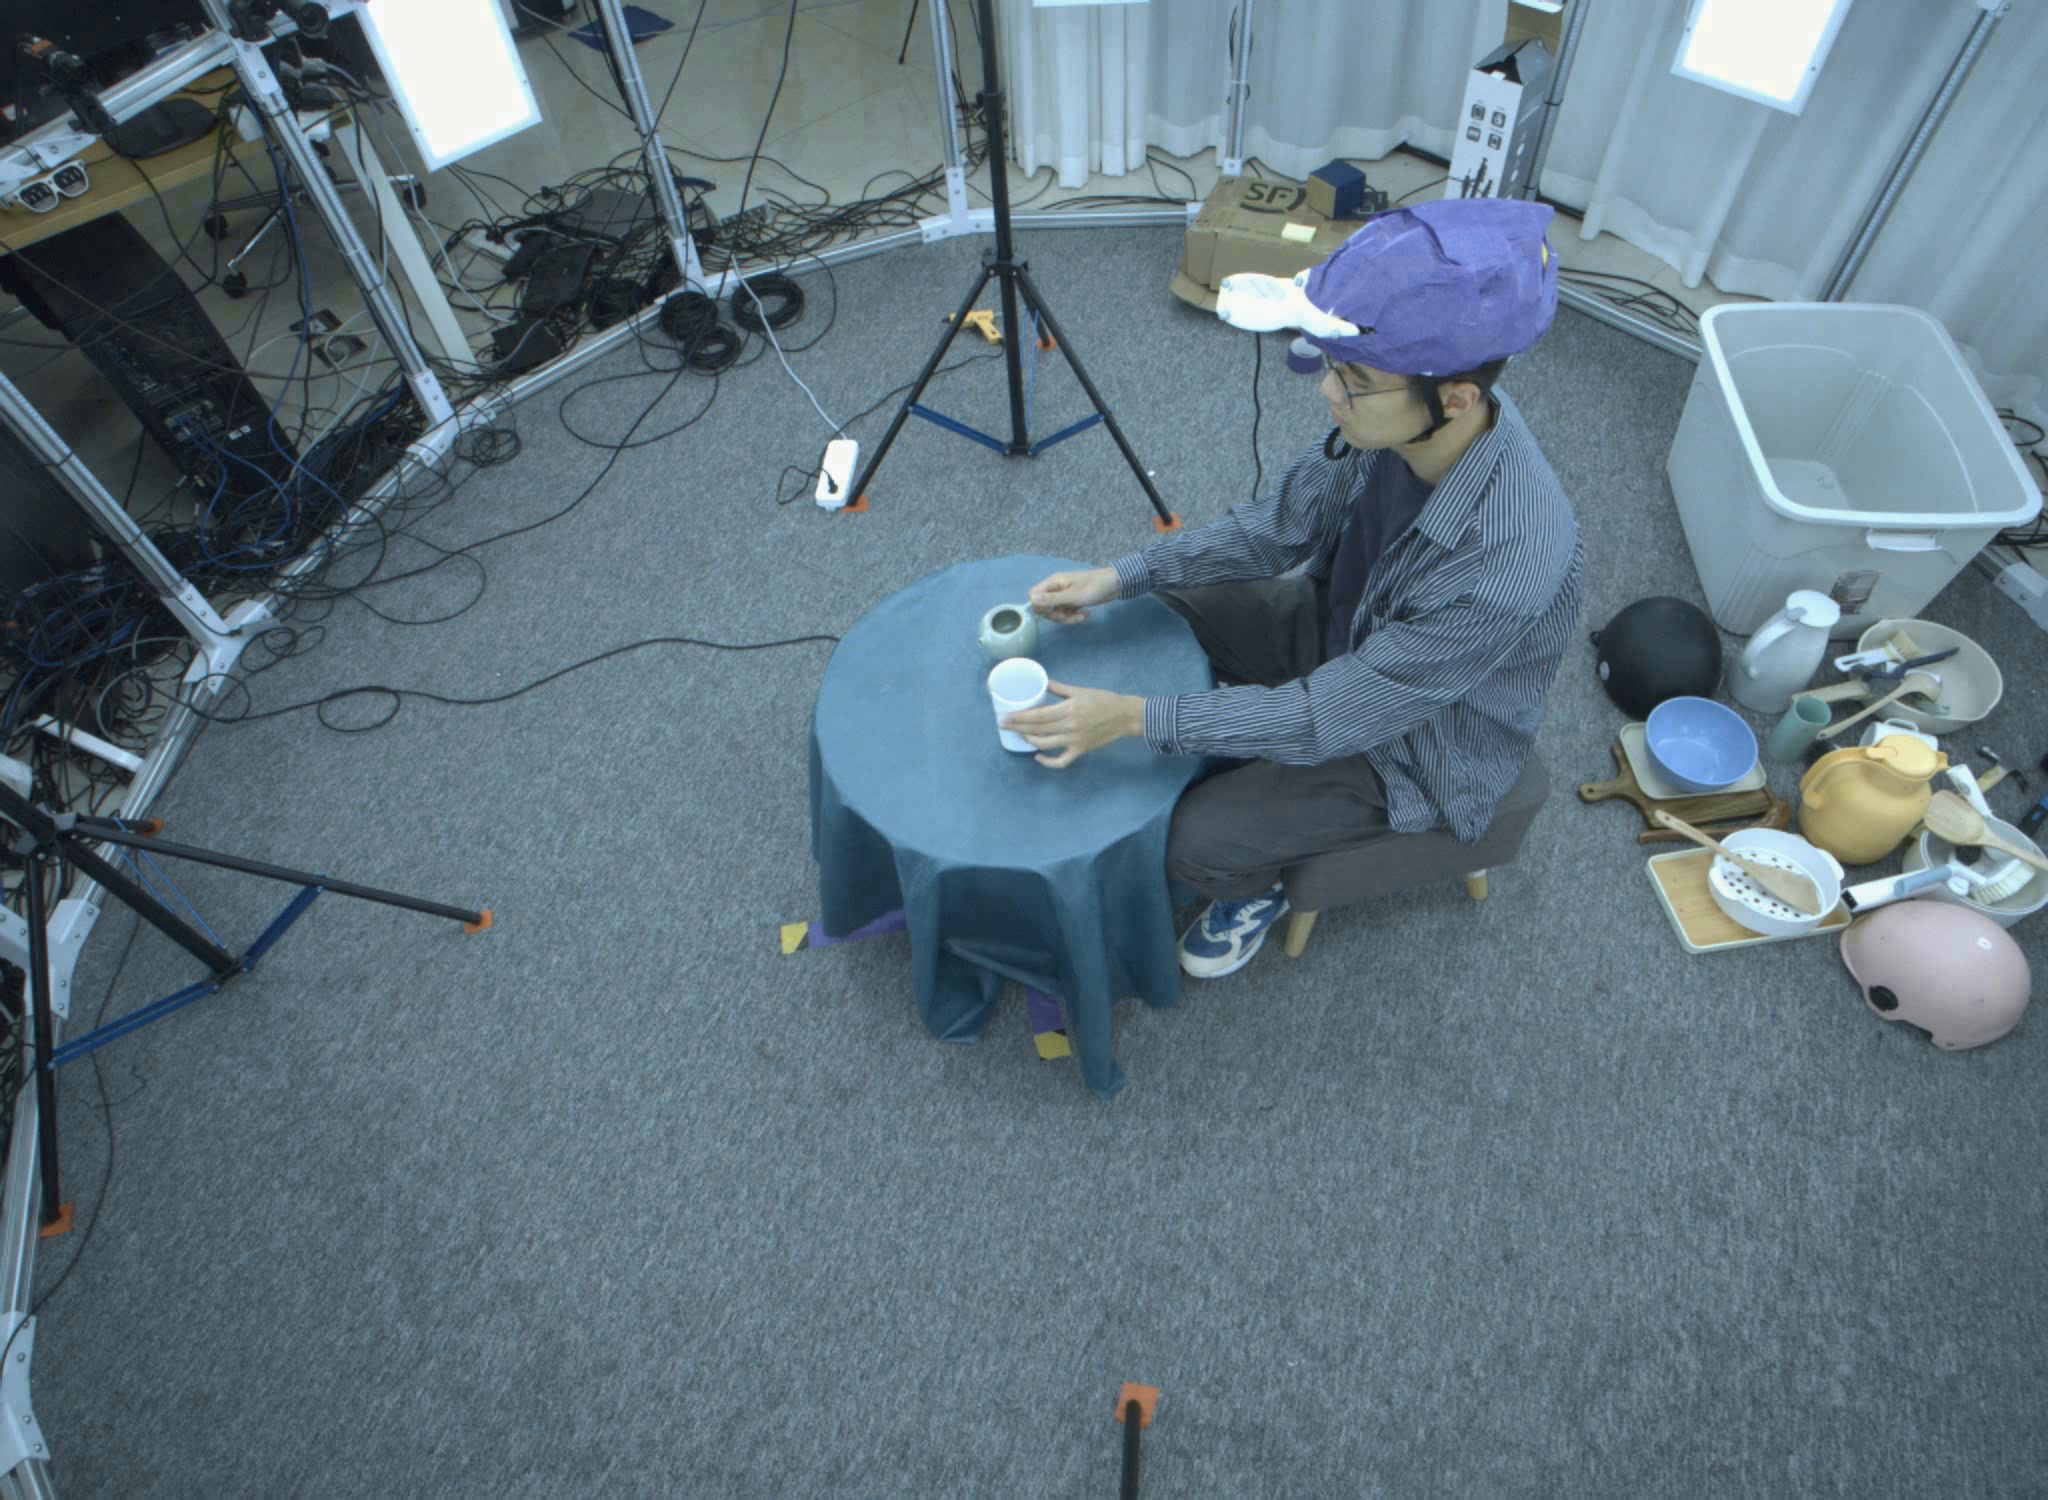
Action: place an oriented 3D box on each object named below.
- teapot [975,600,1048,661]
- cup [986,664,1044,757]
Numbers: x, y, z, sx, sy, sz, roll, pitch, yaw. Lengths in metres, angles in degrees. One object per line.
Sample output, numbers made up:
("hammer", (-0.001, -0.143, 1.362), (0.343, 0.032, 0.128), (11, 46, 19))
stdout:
("teapot", (-0.017, -0.183, 1.852), (0.129, 0.062, 0.089), (-35, 57, -13))
("cup", (-0.009, -0.051, 1.738), (0.081, 0.127, 0.081), (-1, 56, 3))
